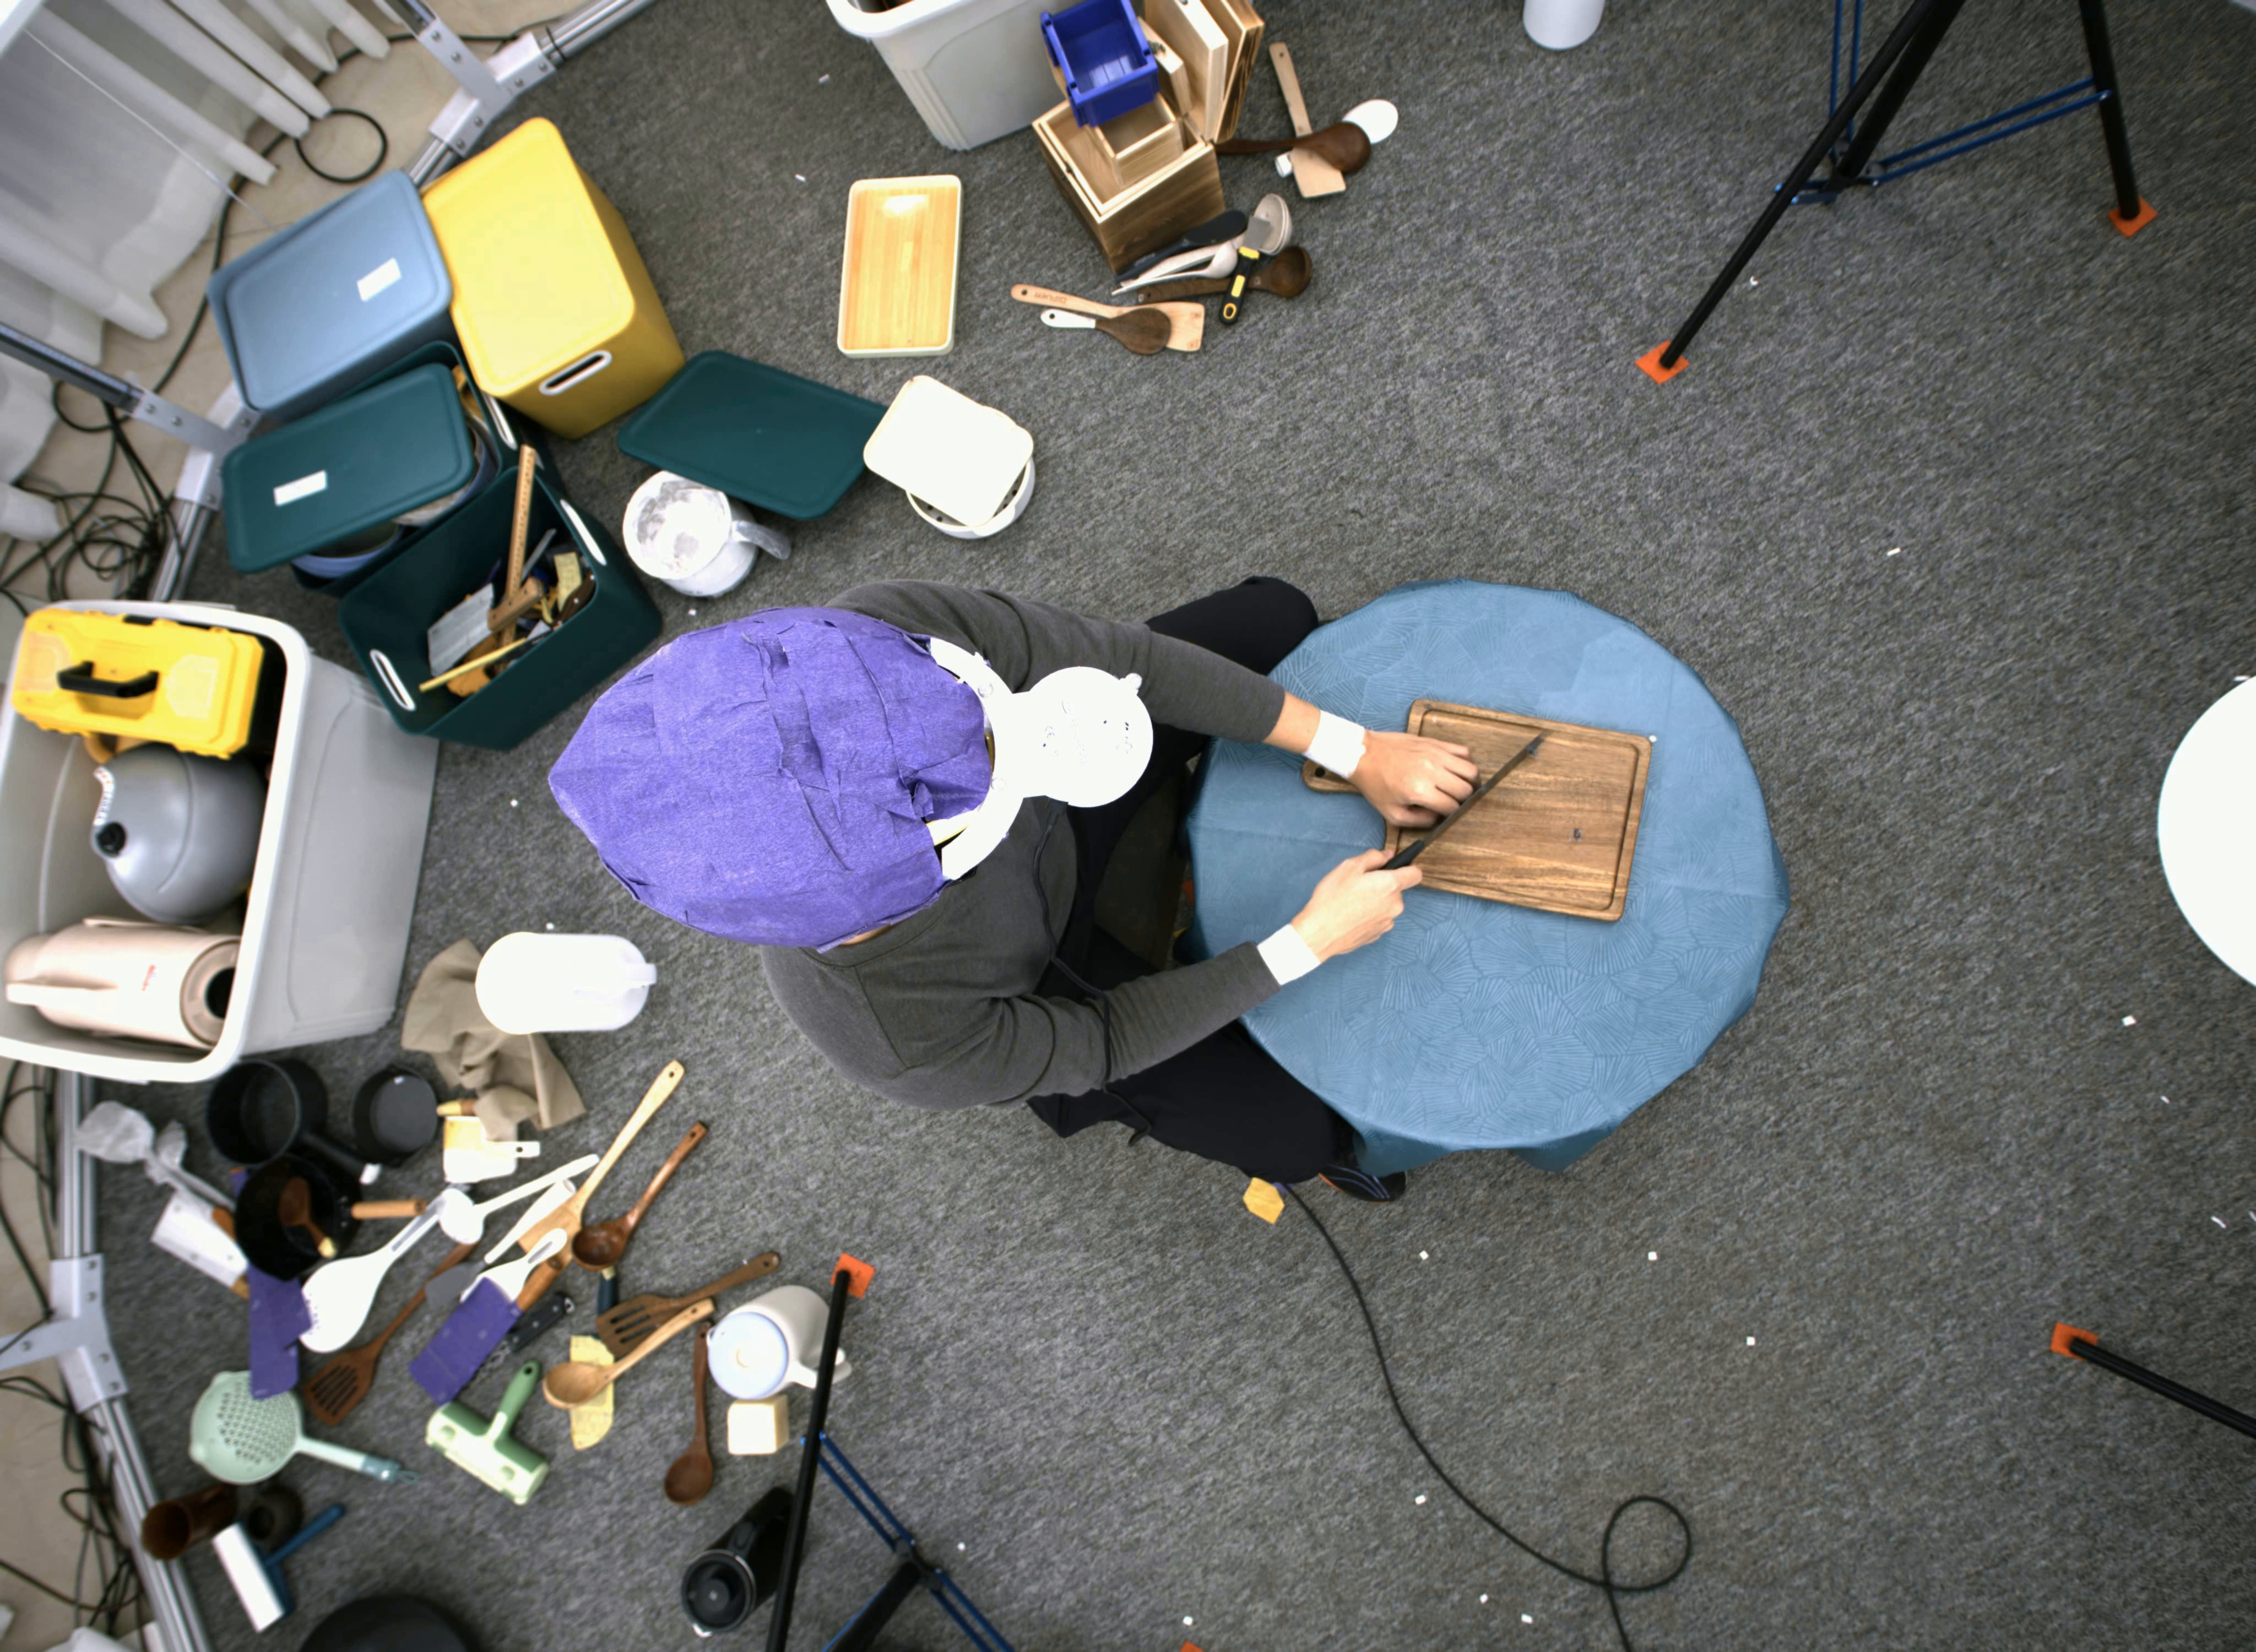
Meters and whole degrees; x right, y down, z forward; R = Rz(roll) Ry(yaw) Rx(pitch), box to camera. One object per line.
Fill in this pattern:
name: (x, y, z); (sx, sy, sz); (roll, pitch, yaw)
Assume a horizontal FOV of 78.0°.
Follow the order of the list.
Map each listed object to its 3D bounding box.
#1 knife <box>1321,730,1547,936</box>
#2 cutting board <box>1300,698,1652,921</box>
knife: (0.312, 0.005, 1.395); (0.302, 0.081, 0.020); (-41, 74, -2)
cutting board: (0.355, -0.030, 1.439); (0.353, 0.023, 0.200); (10, 88, 11)
